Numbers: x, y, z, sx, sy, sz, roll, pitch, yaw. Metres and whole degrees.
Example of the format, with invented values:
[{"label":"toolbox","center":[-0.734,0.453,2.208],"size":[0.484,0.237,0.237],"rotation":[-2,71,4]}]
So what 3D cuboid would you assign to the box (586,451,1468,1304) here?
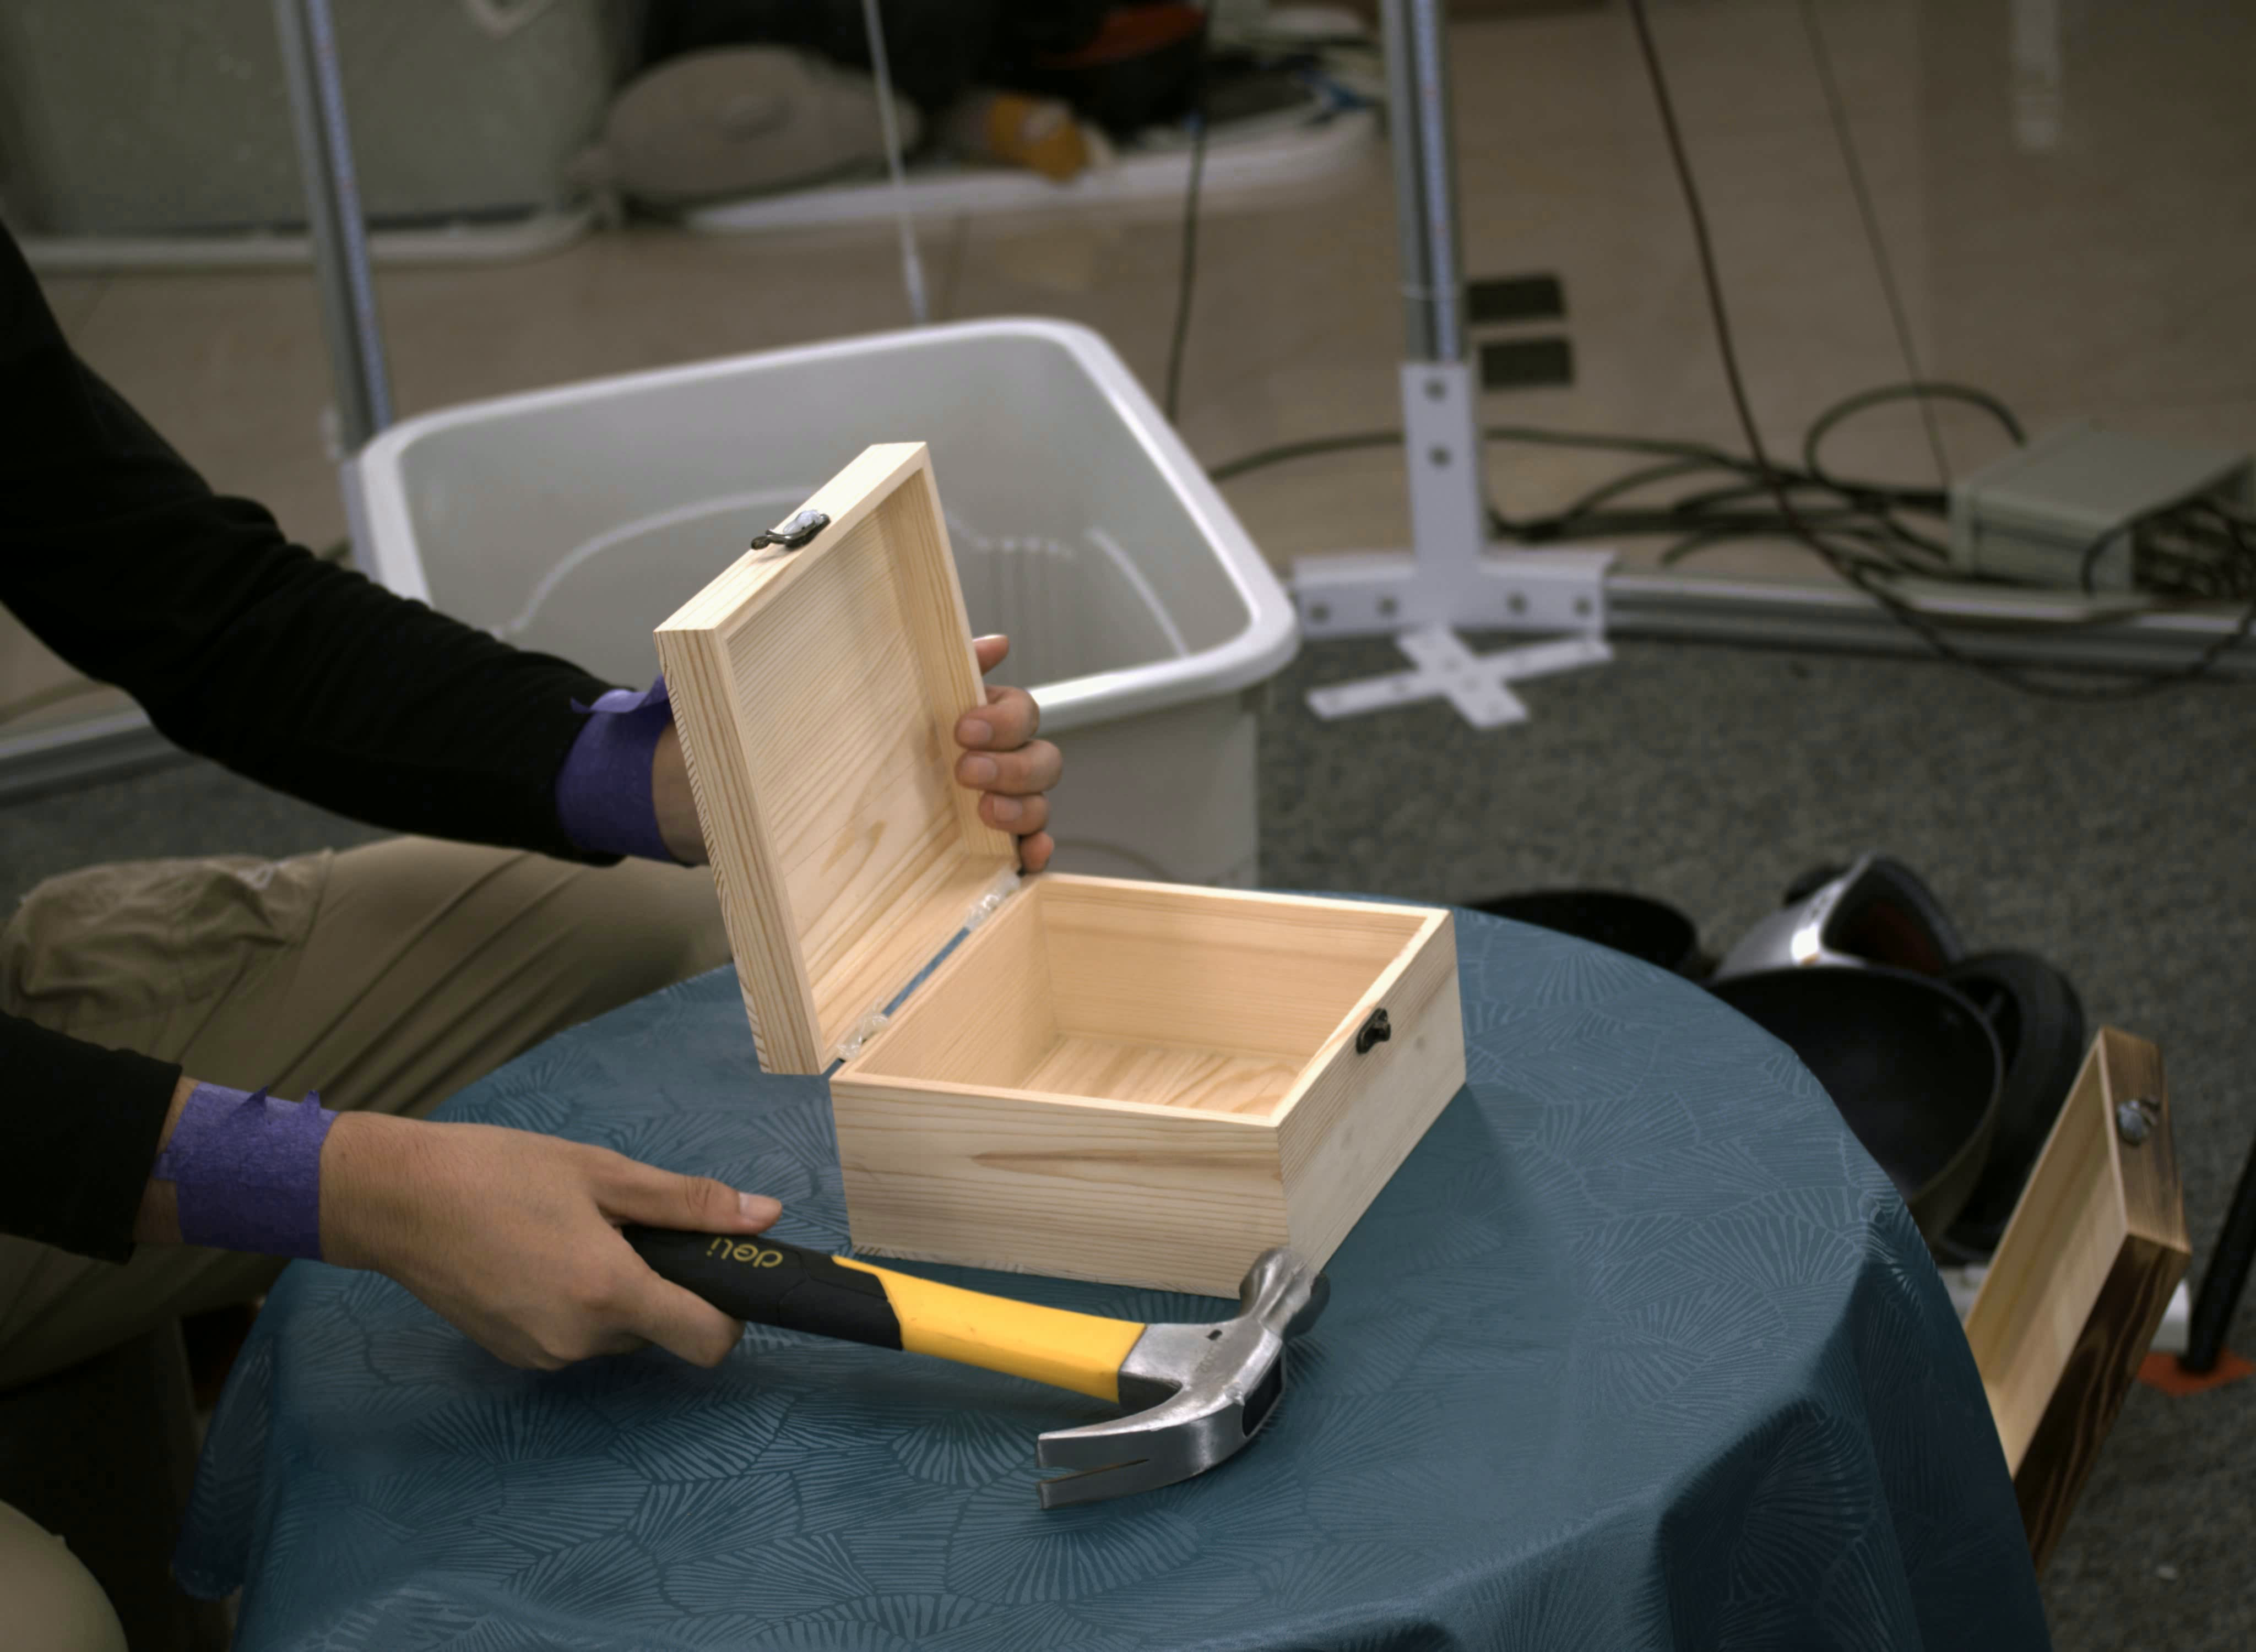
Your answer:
[{"label":"box","center":[-0.029,0.015,2.123],"size":[0.264,0.257,0.179],"rotation":[5,30,23]}]

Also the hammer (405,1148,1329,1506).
[{"label":"hammer","center":[-0.107,0.165,2.029],"size":[0.337,0.033,0.129],"rotation":[12,38,21]}]
